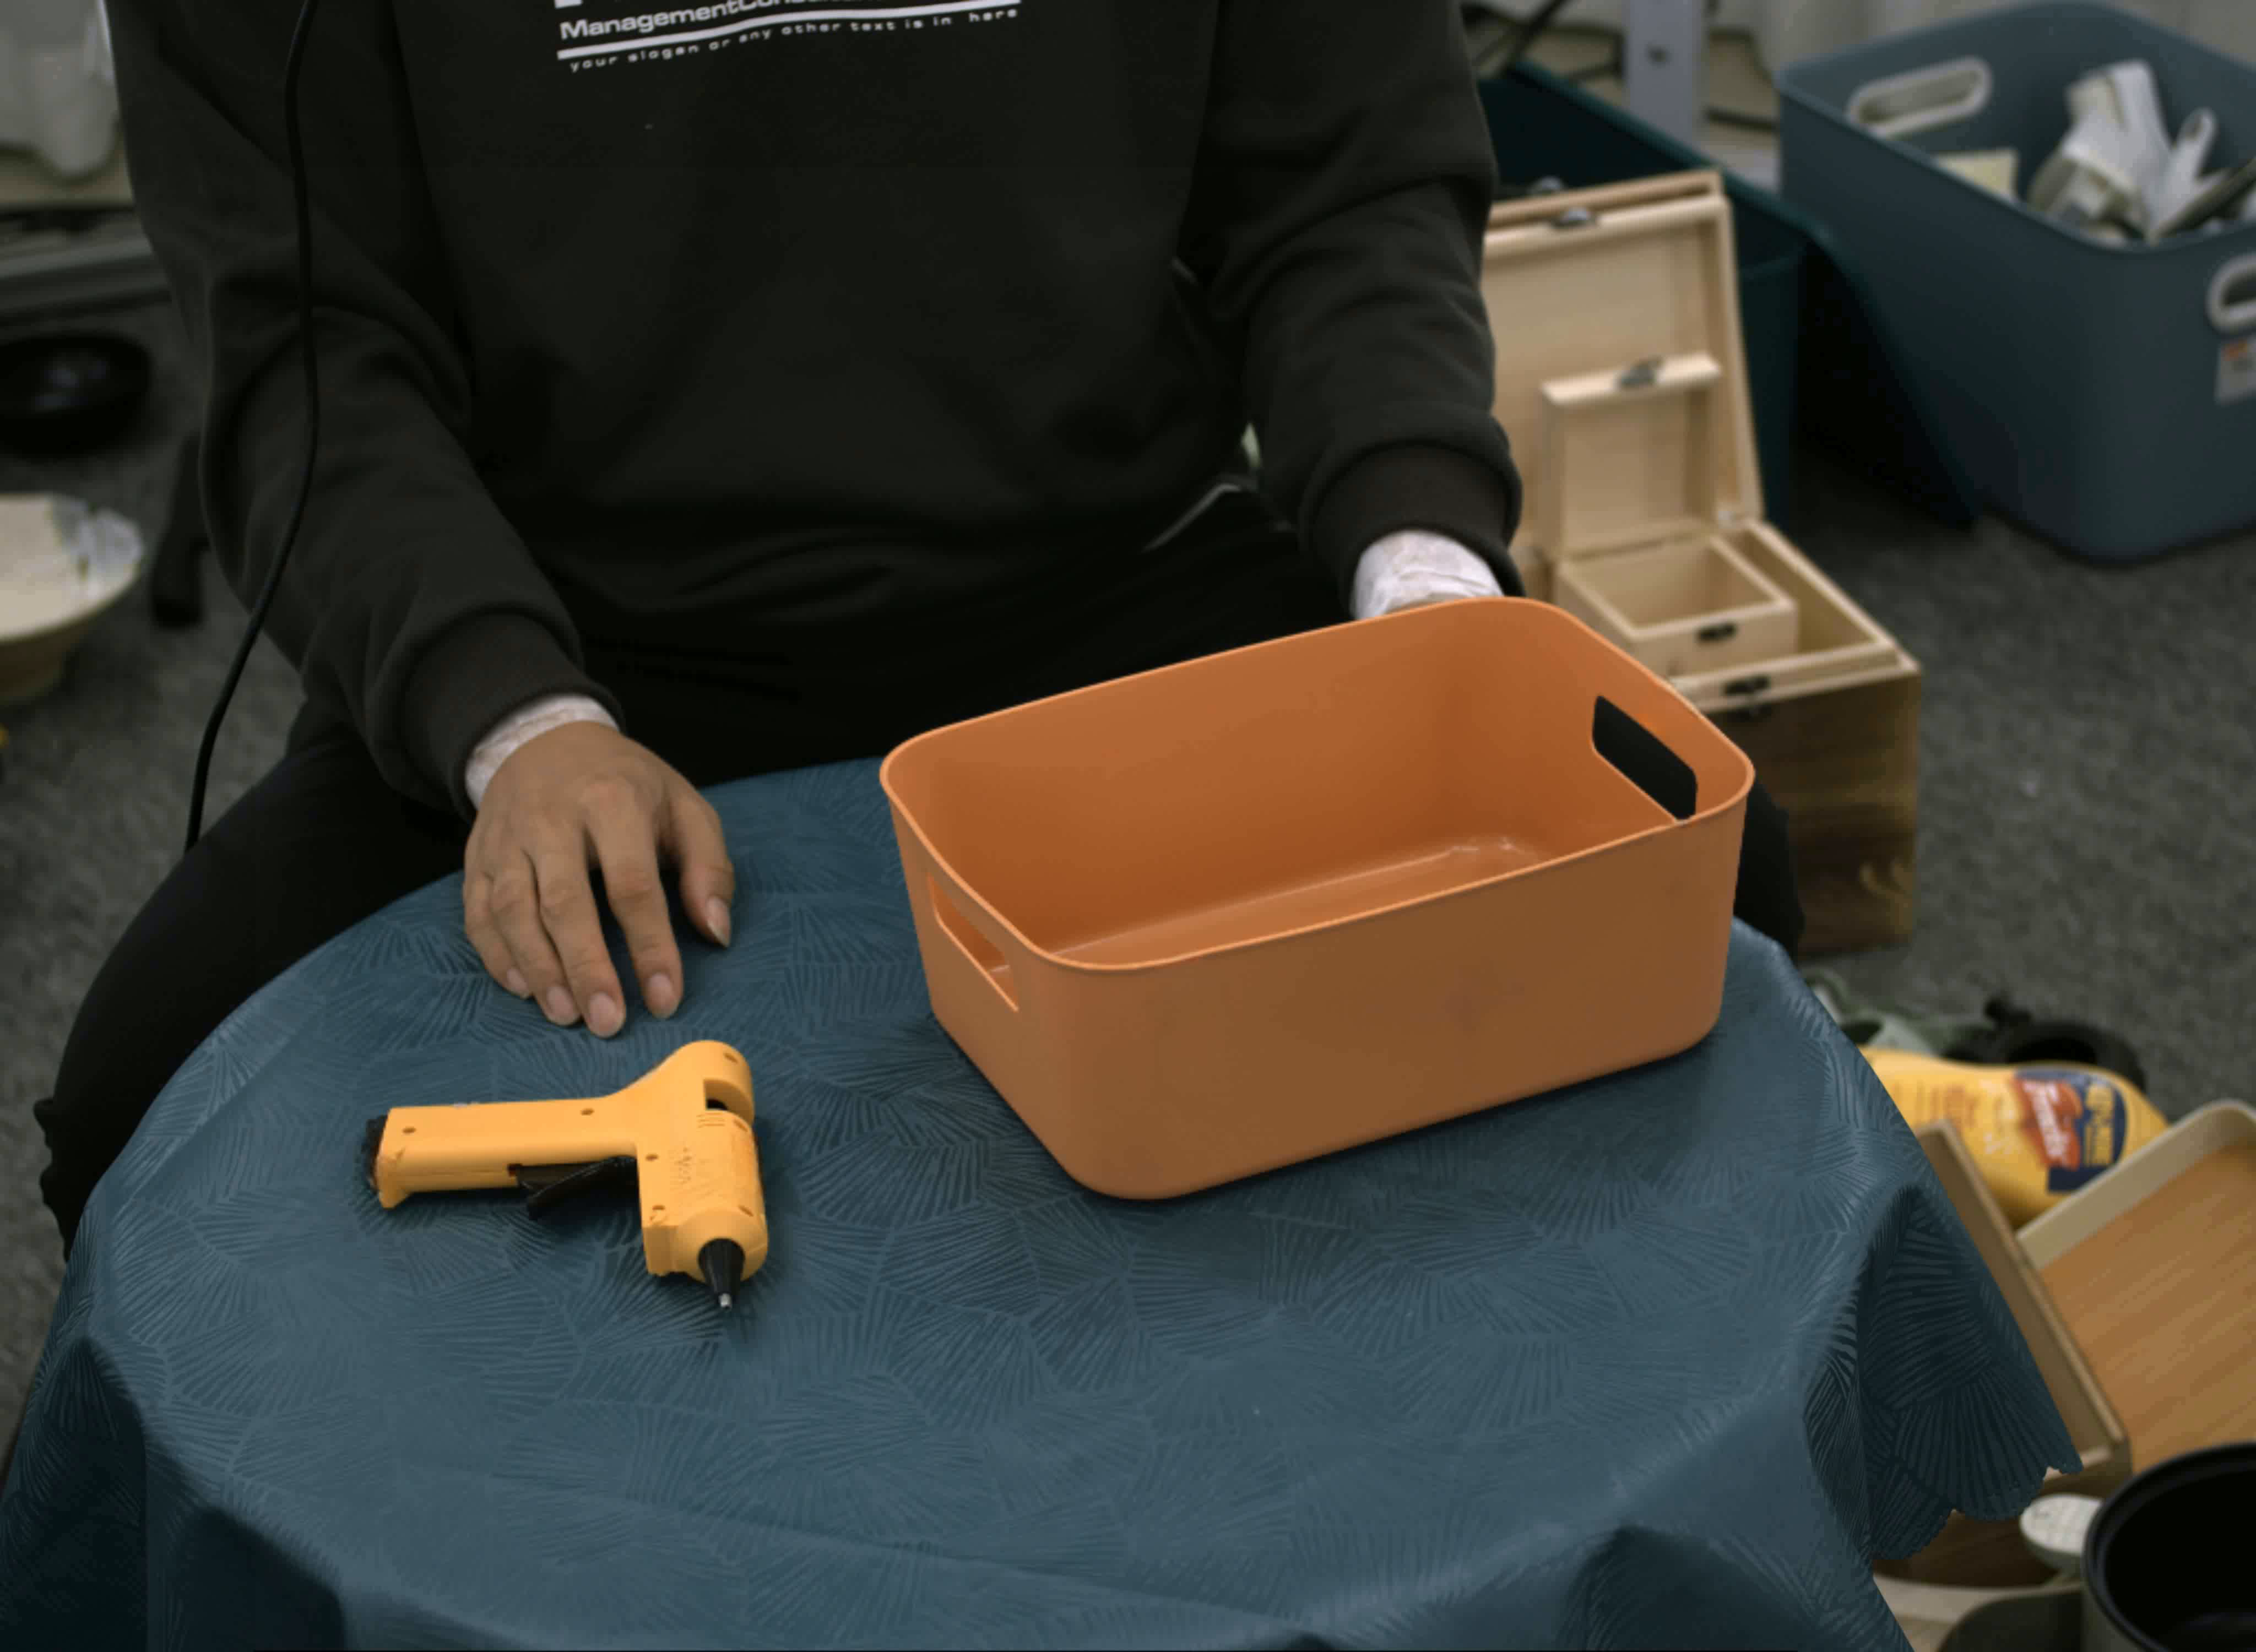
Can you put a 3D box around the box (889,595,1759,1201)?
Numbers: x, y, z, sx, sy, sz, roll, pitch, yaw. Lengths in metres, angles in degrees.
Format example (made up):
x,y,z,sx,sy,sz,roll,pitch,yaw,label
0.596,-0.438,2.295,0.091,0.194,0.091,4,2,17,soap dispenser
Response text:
x,y,z,sx,sy,sz,roll,pitch,yaw,label
0.067,0.024,1.938,0.274,0.101,0.200,-15,29,-21,box

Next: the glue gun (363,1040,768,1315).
x,y,z,sx,sy,sz,roll,pitch,yaw,label
-0.180,0.127,1.847,0.133,0.031,0.153,-9,29,-8,glue gun
